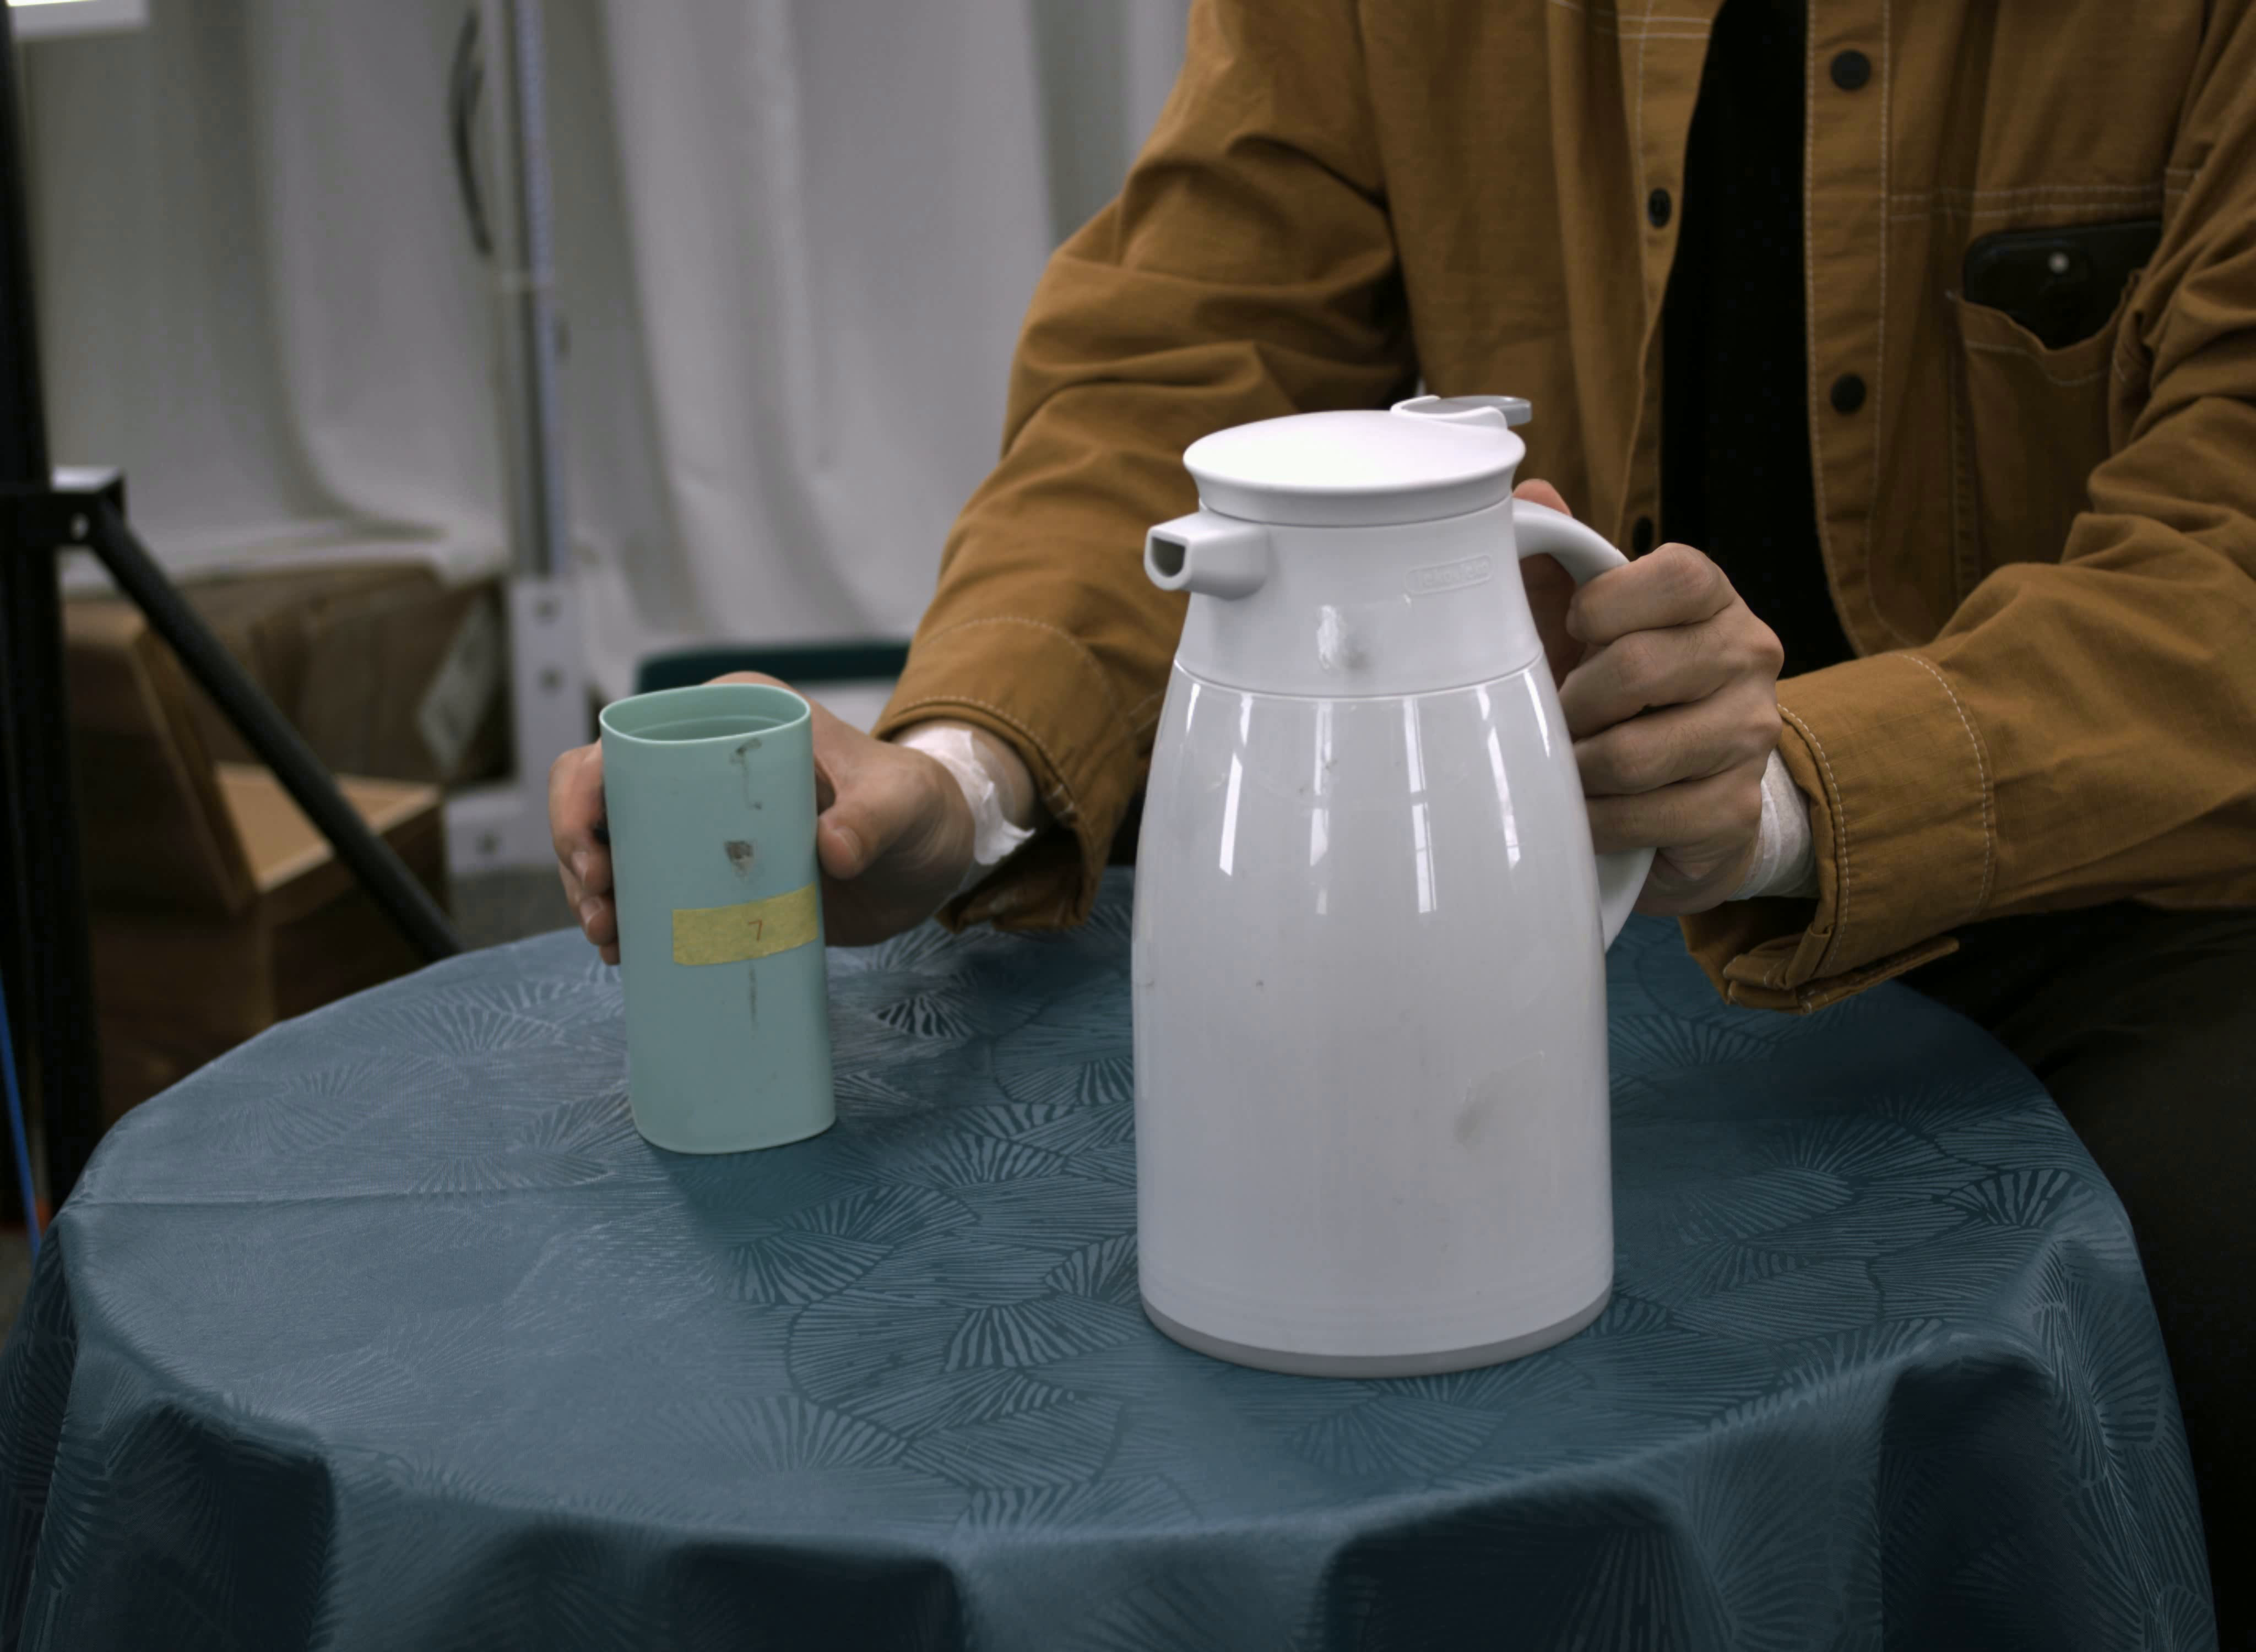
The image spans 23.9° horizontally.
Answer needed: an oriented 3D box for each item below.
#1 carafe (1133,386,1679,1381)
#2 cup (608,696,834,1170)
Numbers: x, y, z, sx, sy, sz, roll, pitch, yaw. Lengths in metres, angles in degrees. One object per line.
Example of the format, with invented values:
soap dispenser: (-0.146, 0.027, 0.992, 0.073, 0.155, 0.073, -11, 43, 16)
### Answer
carafe: (0.080, 0.007, 1.445, 0.164, 0.248, 0.135, -11, 17, -33)
cup: (-0.123, 0.031, 1.620, 0.066, 0.132, 0.067, -2, 15, -1)
